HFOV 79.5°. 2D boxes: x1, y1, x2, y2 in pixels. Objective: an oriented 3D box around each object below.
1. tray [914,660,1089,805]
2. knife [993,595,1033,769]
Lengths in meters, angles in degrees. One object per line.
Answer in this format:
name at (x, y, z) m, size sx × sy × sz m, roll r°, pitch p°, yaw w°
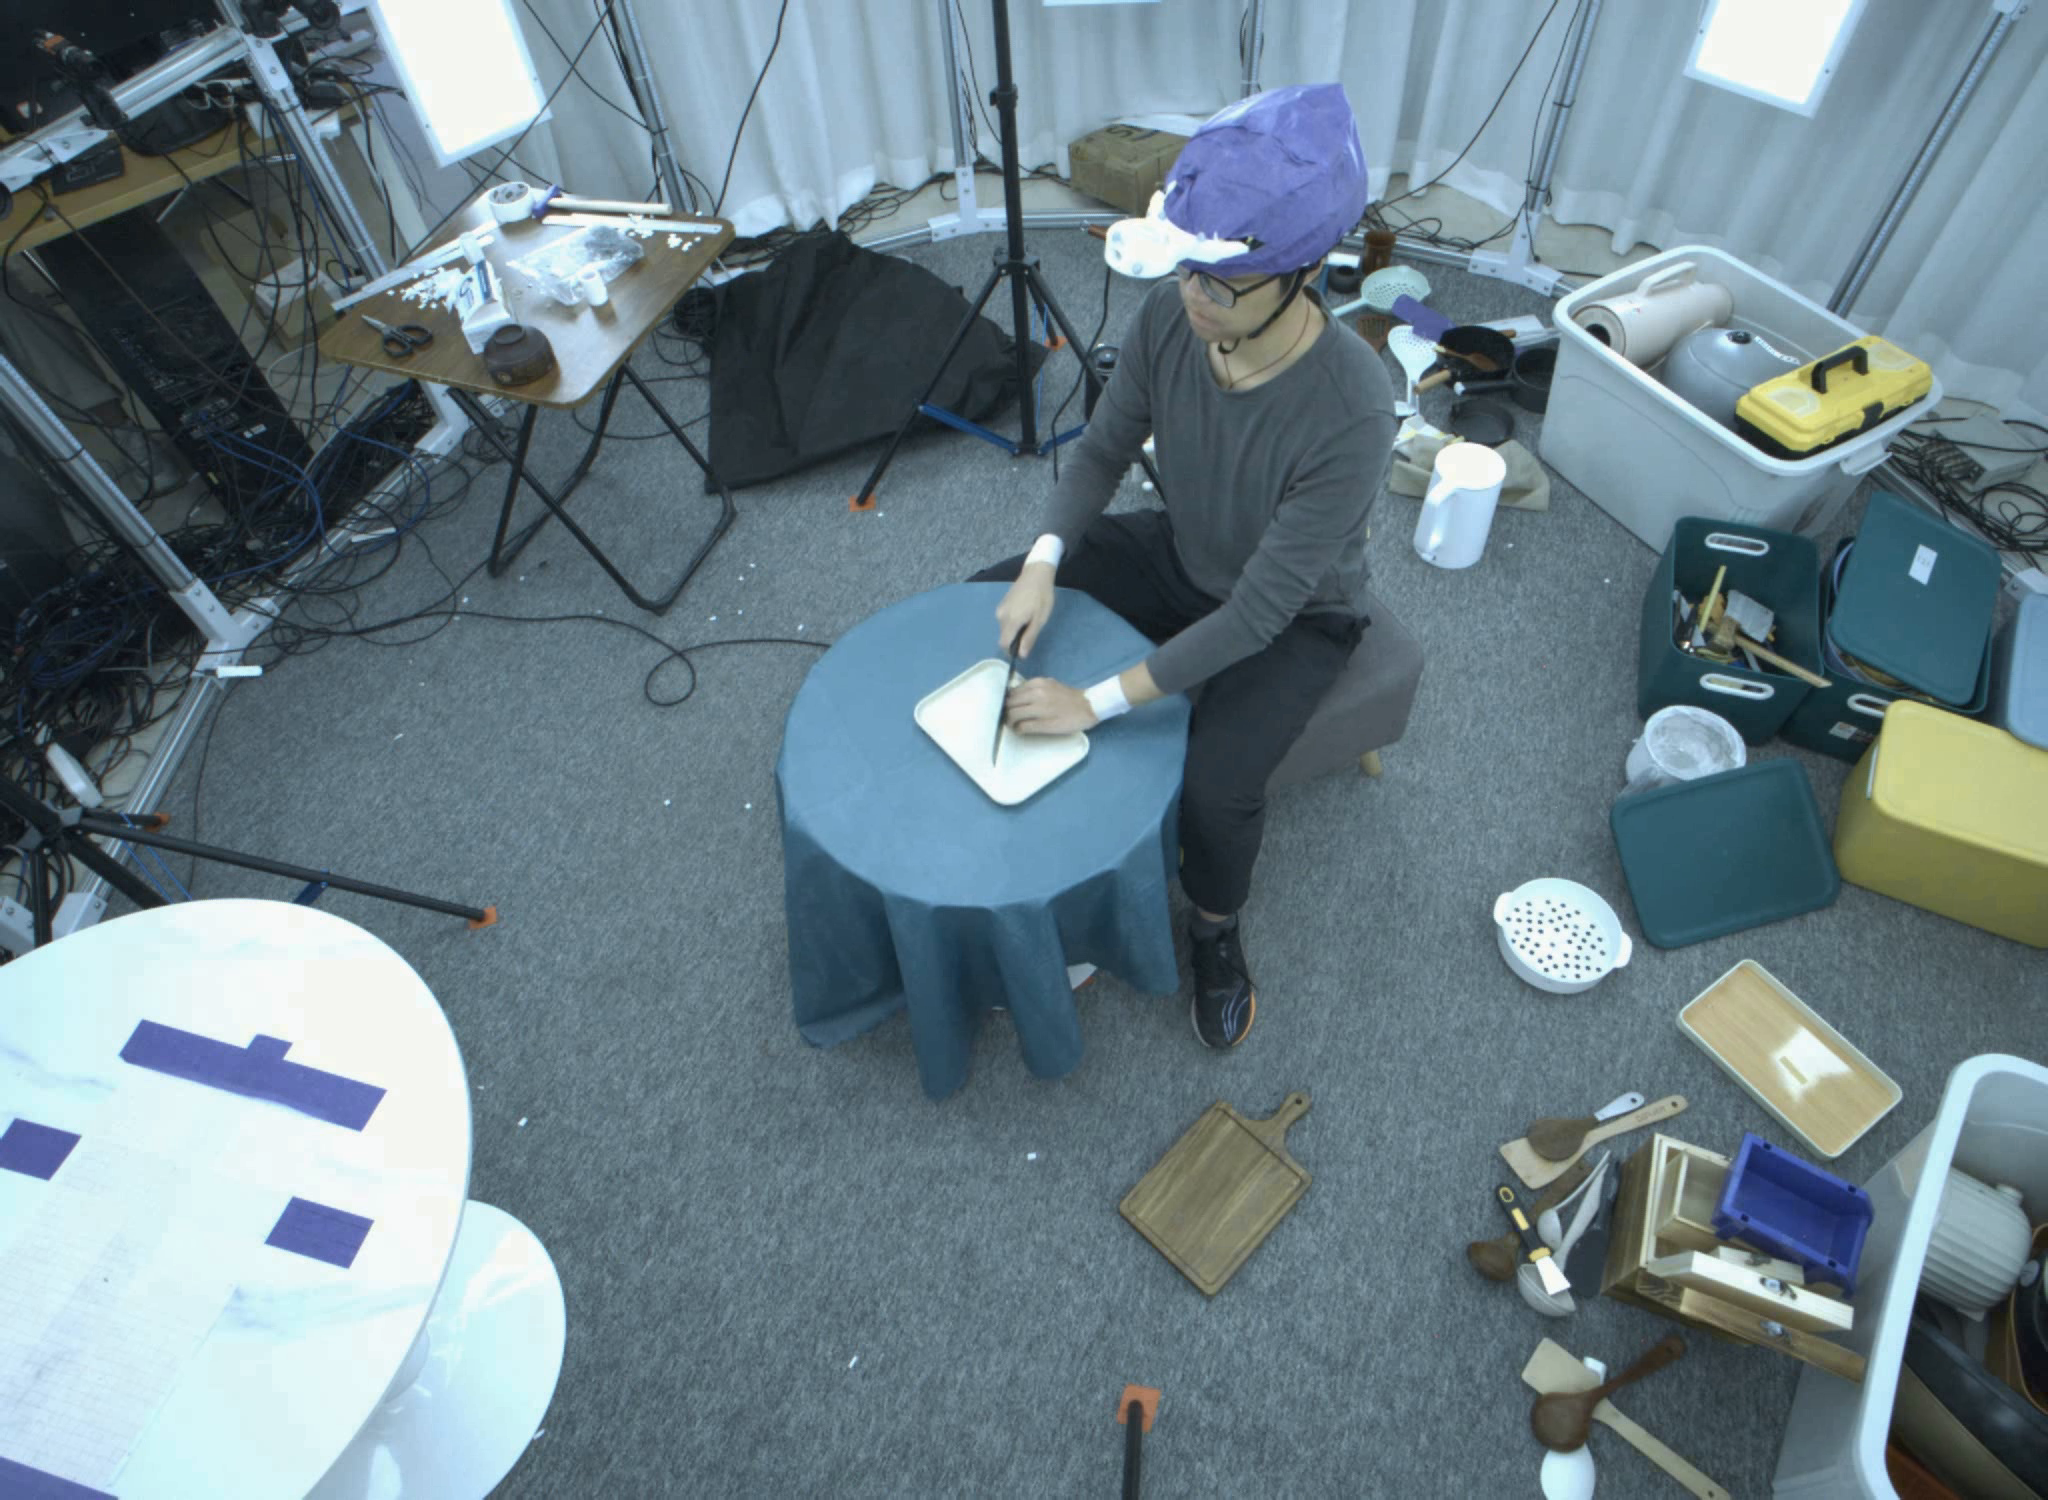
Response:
tray at (-0.034, -0.028, 1.805) m, size 0.172 × 0.017 × 0.235 m, roll -34°, pitch 61°, yaw -22°
knife at (-0.019, -0.109, 1.808) m, size 0.021 × 0.081 × 0.300 m, roll 8°, pitch 58°, yaw 5°
